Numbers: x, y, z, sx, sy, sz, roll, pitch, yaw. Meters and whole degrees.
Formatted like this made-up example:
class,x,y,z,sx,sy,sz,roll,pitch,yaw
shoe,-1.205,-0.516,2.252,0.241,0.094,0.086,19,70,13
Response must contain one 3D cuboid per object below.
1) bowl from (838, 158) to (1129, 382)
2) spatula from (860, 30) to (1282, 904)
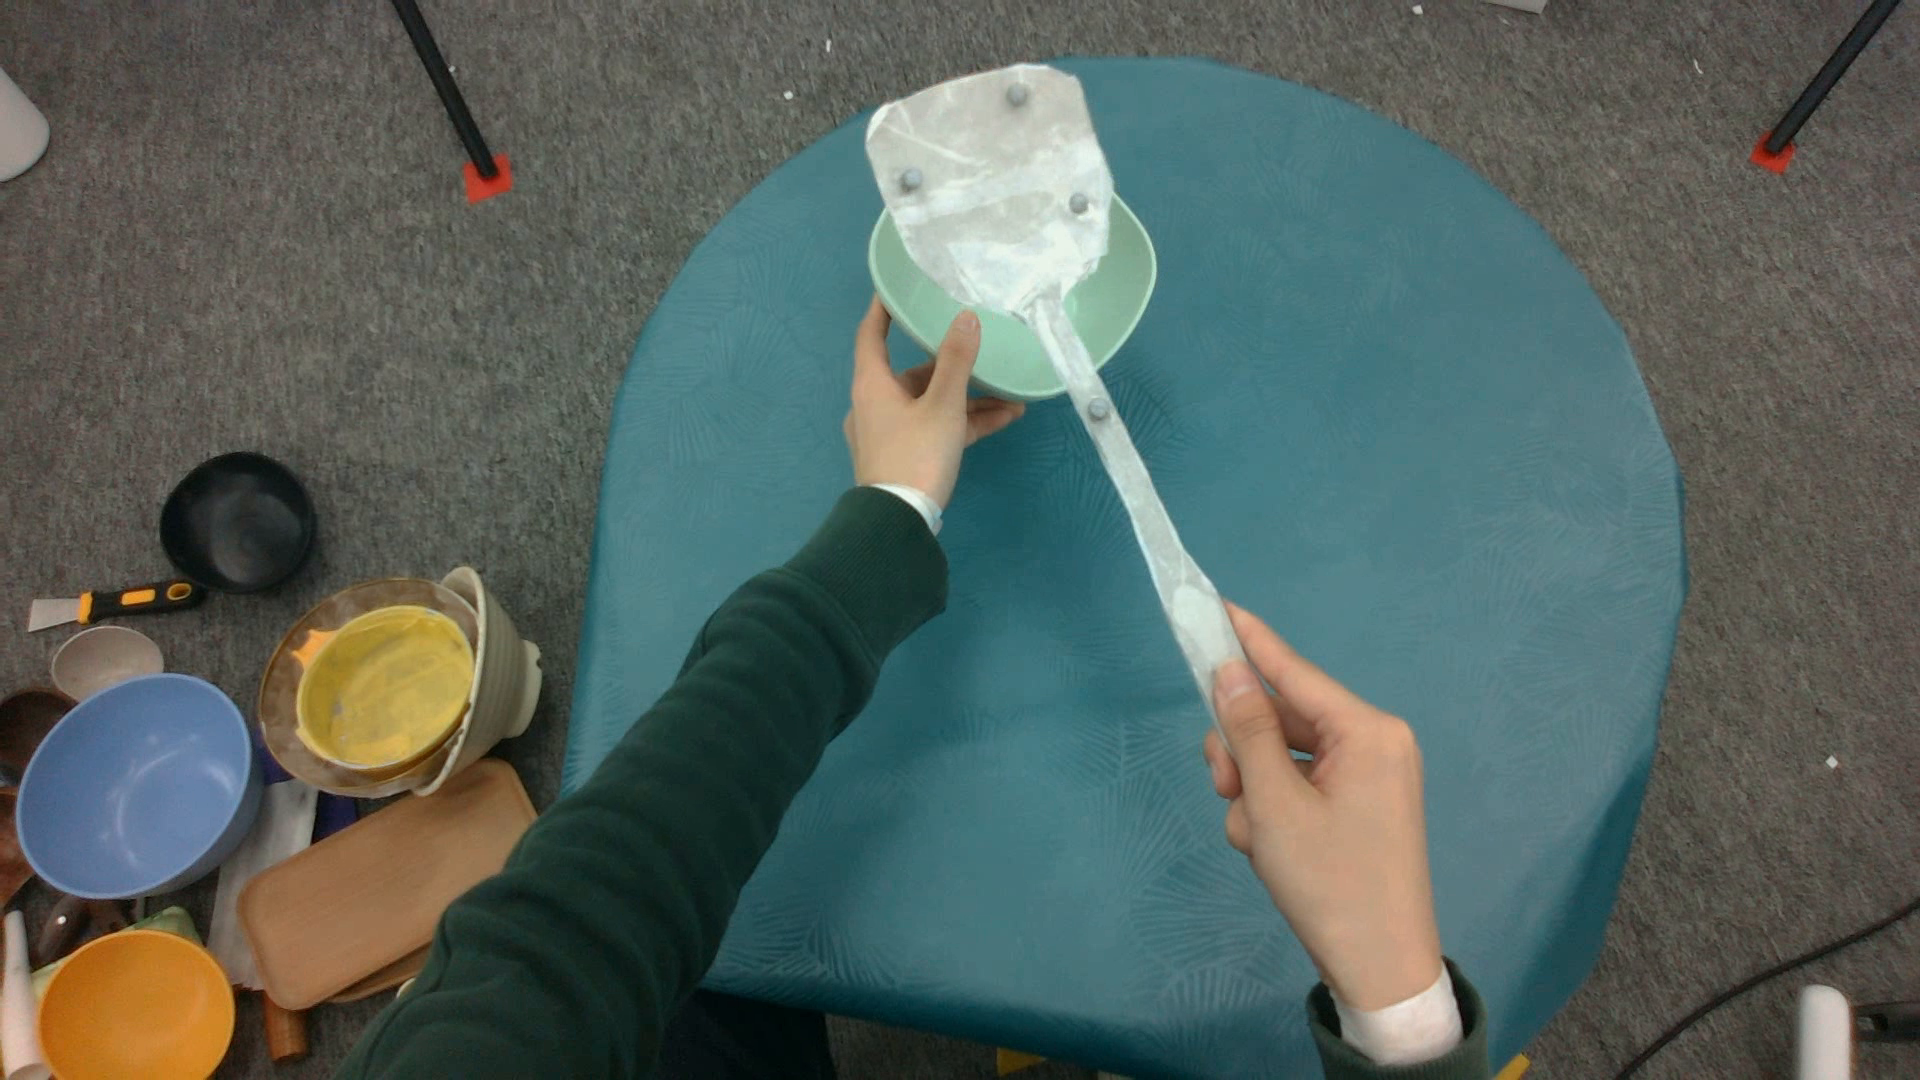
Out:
class,x,y,z,sx,sy,sz,roll,pitch,yaw
bowl,0.009,-0.144,0.722,0.151,0.058,0.152,4,71,-11
spatula,0.055,-0.043,0.531,0.099,0.044,0.365,-16,69,-12
